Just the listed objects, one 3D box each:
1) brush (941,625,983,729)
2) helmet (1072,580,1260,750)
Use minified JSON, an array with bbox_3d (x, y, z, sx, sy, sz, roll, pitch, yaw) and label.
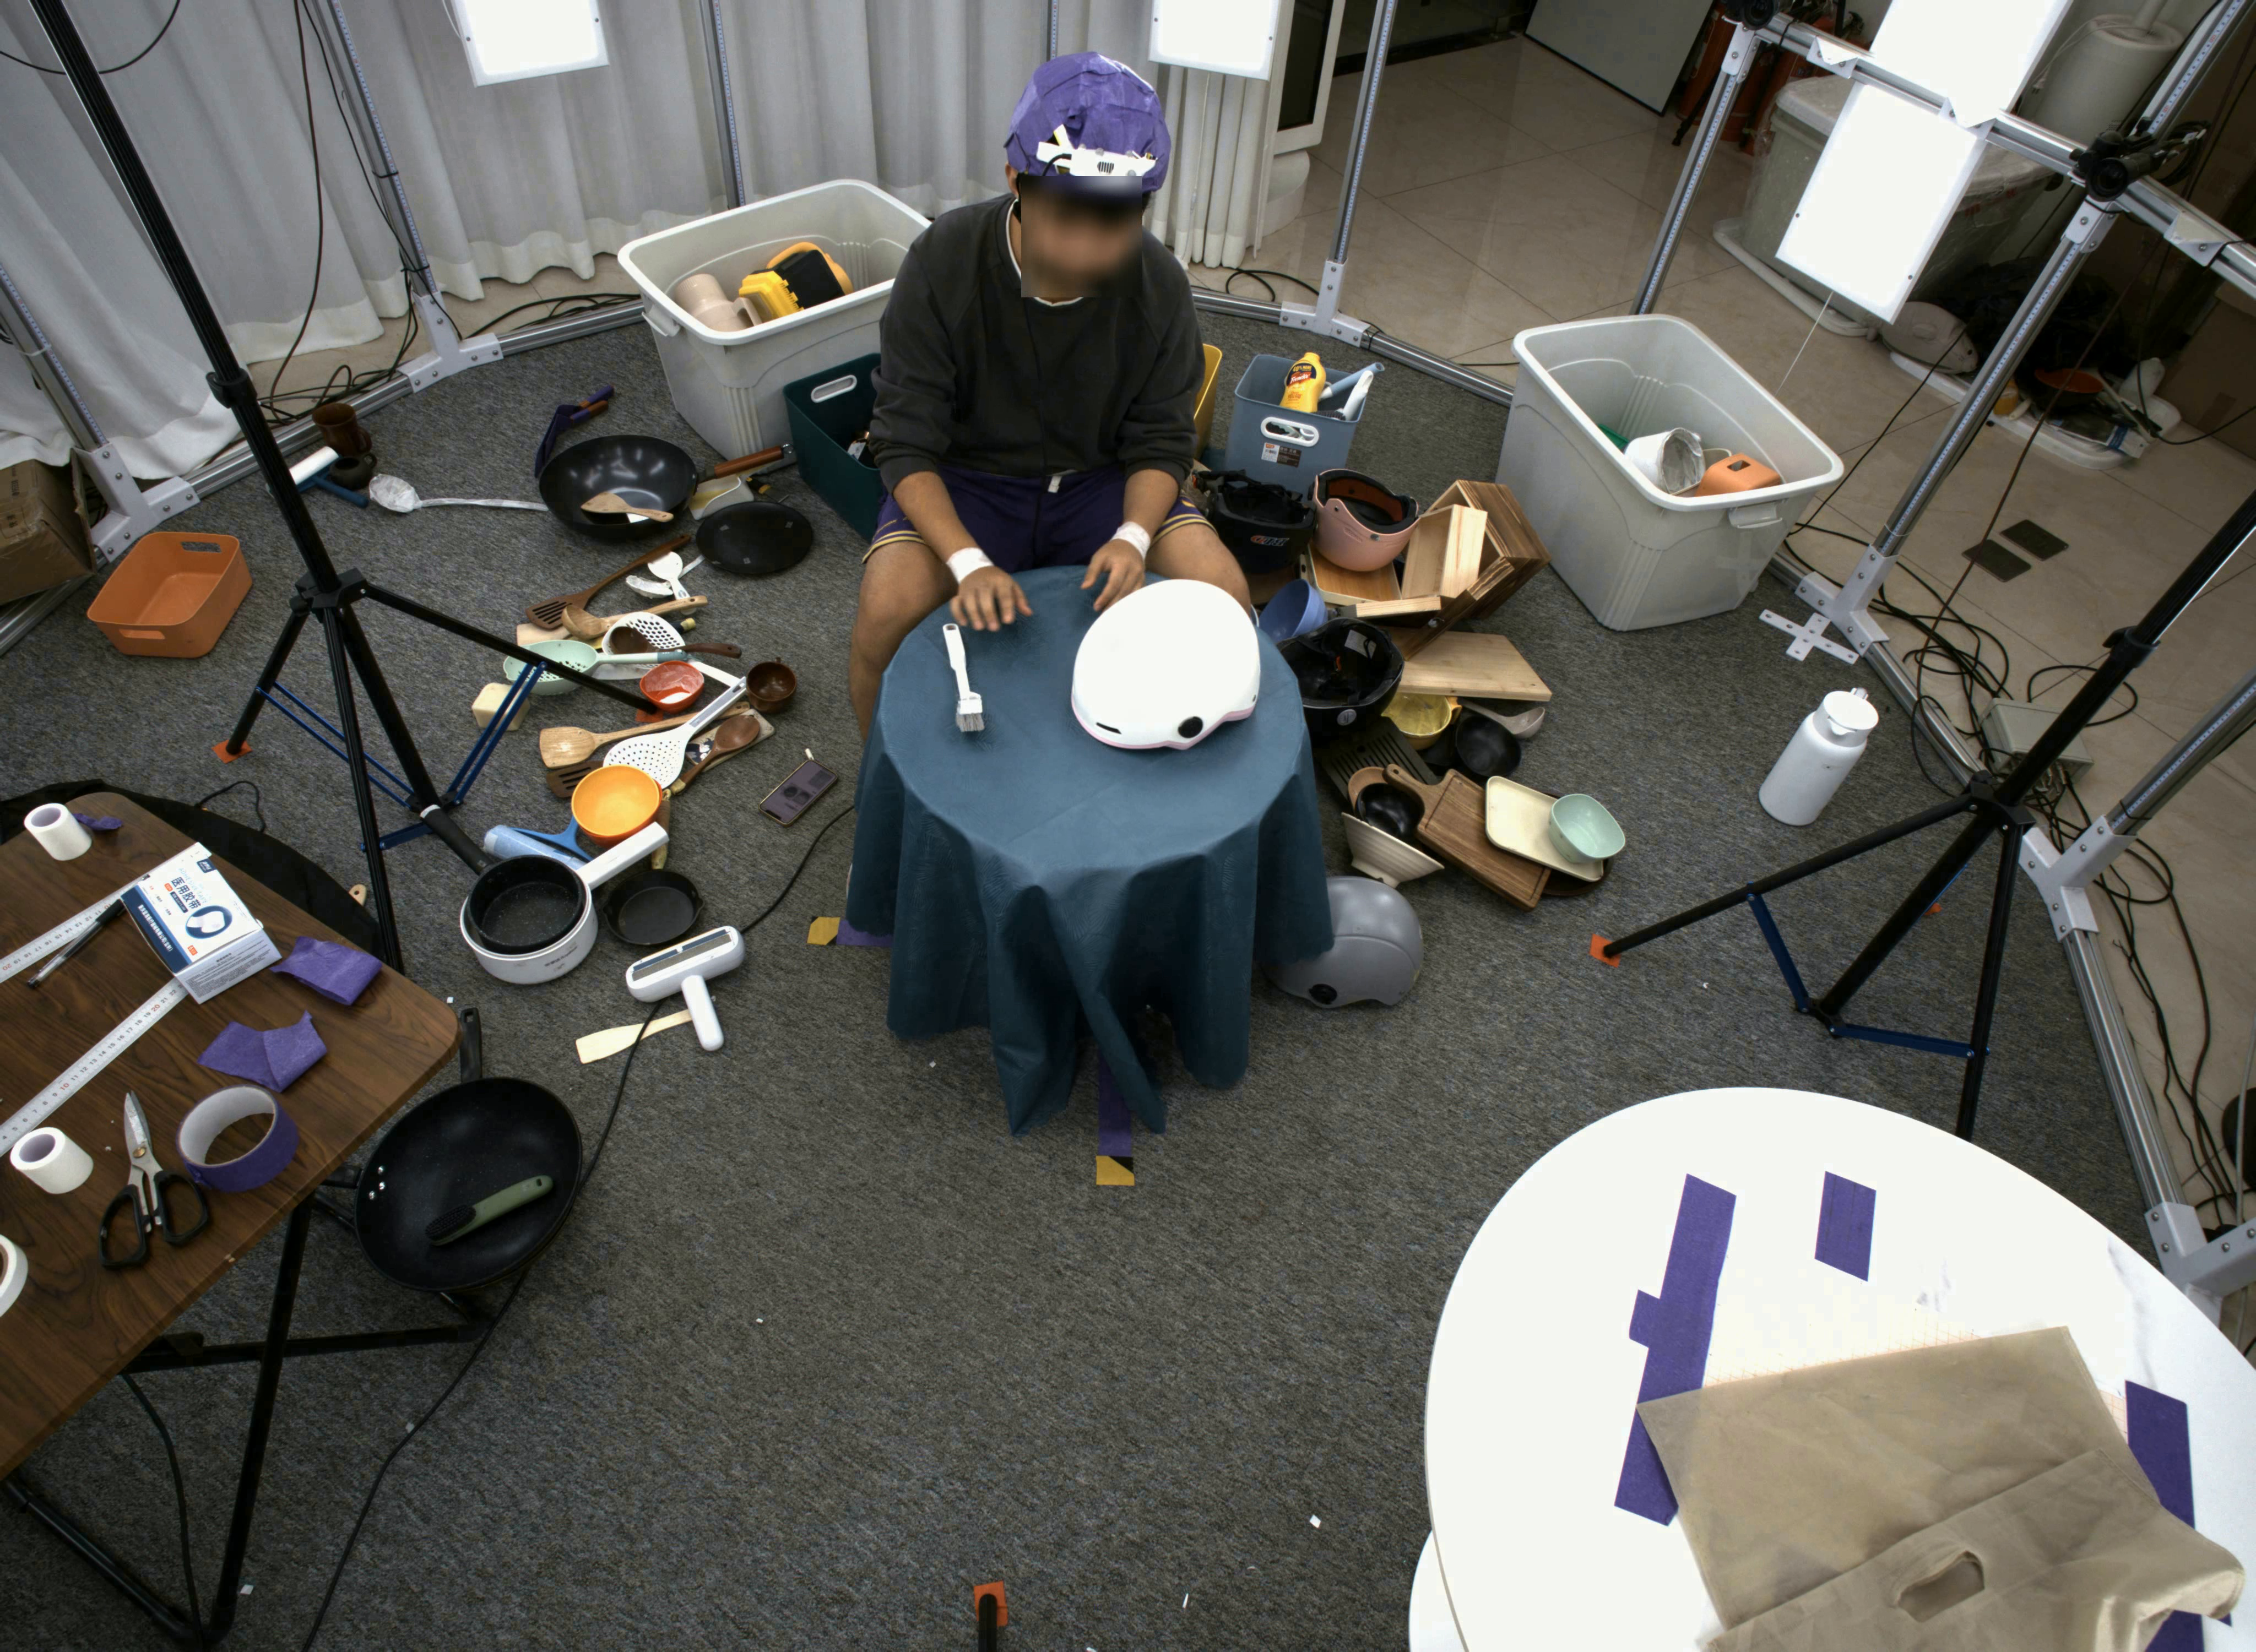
[{"bbox_3d":[-0.237,-0.209,1.817,0.034,0.049,0.249,-8,37,-11],"label":"brush"},{"bbox_3d":[0.056,-0.237,1.771,0.269,0.163,0.242,-19,53,-19],"label":"helmet"}]
